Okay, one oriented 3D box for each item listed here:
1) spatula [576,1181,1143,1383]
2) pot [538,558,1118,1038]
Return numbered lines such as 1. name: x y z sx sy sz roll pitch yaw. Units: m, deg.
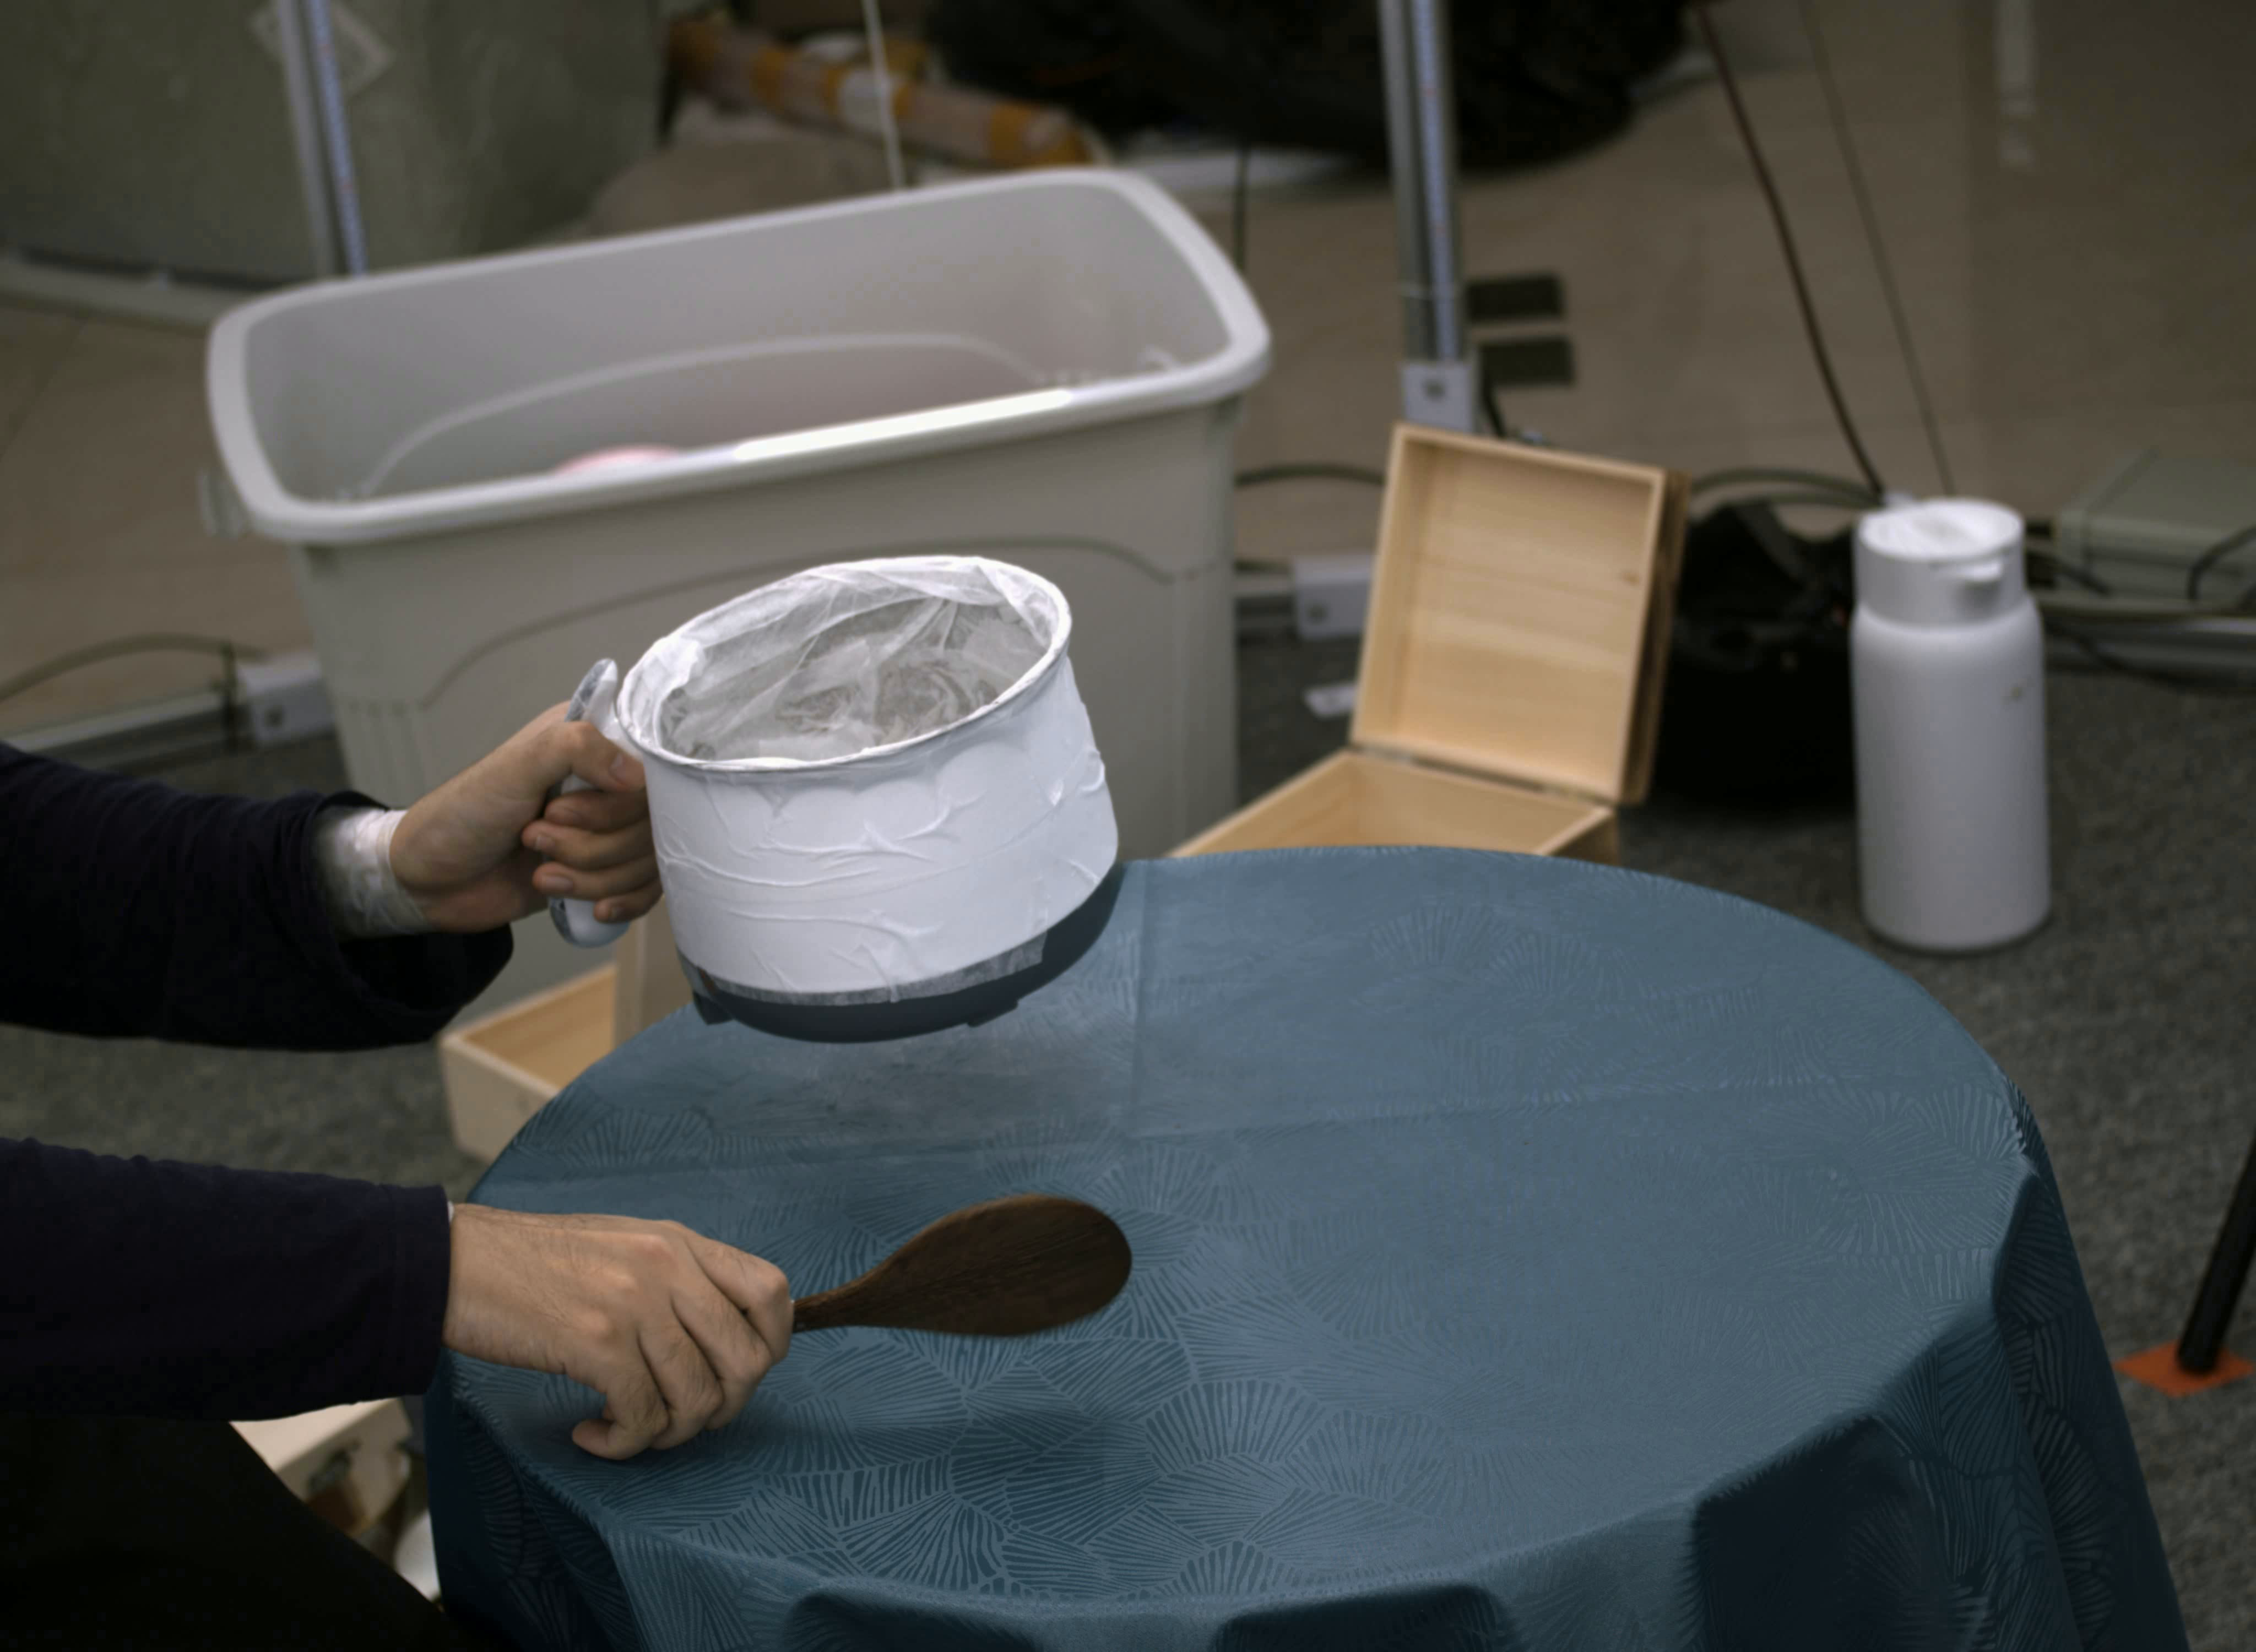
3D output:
1. spatula: -0.099 0.168 2.012 0.216 0.073 0.009 -13 34 17
2. pot: -0.123 -0.008 2.185 0.233 0.139 0.176 -2 26 16
